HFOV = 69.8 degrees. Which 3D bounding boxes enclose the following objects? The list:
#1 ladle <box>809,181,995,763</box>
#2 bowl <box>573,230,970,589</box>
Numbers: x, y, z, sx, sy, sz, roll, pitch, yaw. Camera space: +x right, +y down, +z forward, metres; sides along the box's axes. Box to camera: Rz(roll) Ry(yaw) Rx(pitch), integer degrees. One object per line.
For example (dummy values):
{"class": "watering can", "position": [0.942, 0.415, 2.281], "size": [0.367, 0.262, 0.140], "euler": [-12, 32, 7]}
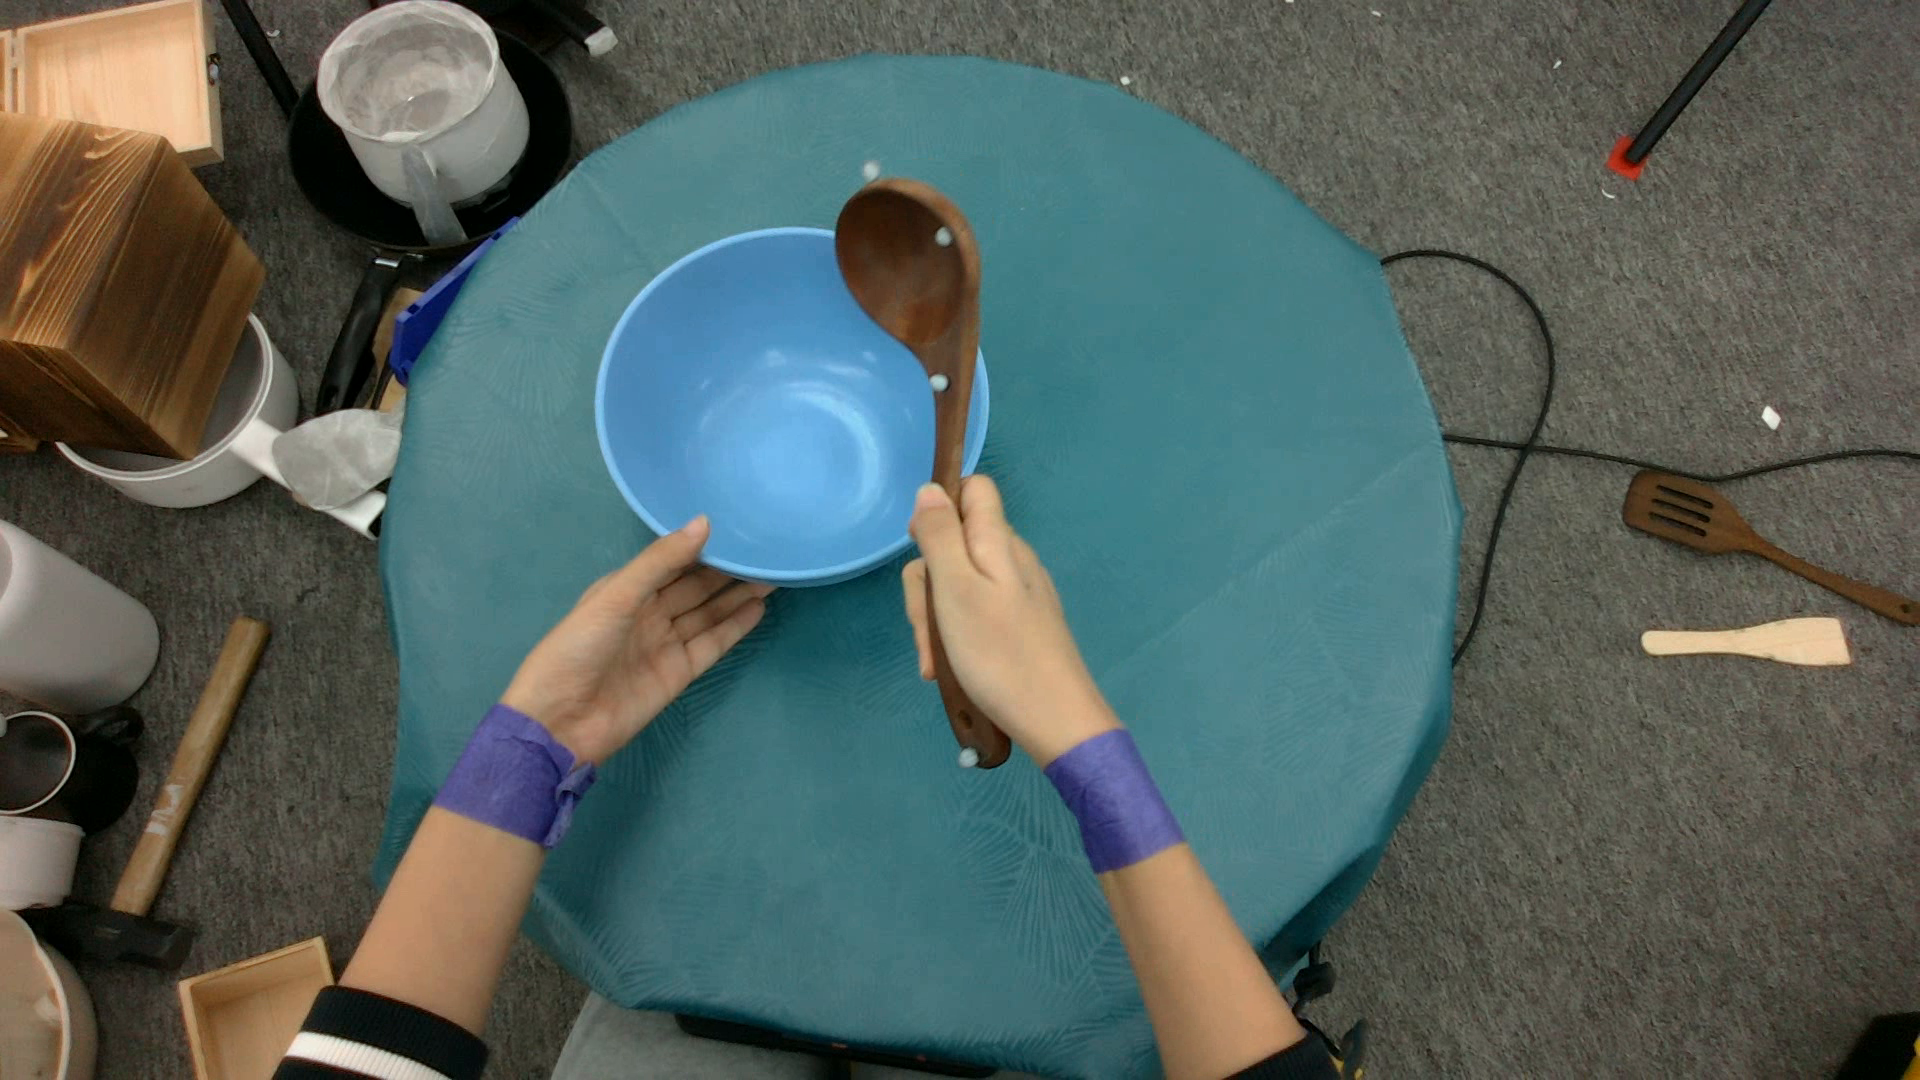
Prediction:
{"class": "ladle", "position": [-0.026, -0.034, 0.599], "size": [0.065, 0.076, 0.261], "euler": [7, 70, -34]}
{"class": "bowl", "position": [-0.099, -0.056, 0.728], "size": [0.196, 0.095, 0.197], "euler": [4, 66, -9]}
